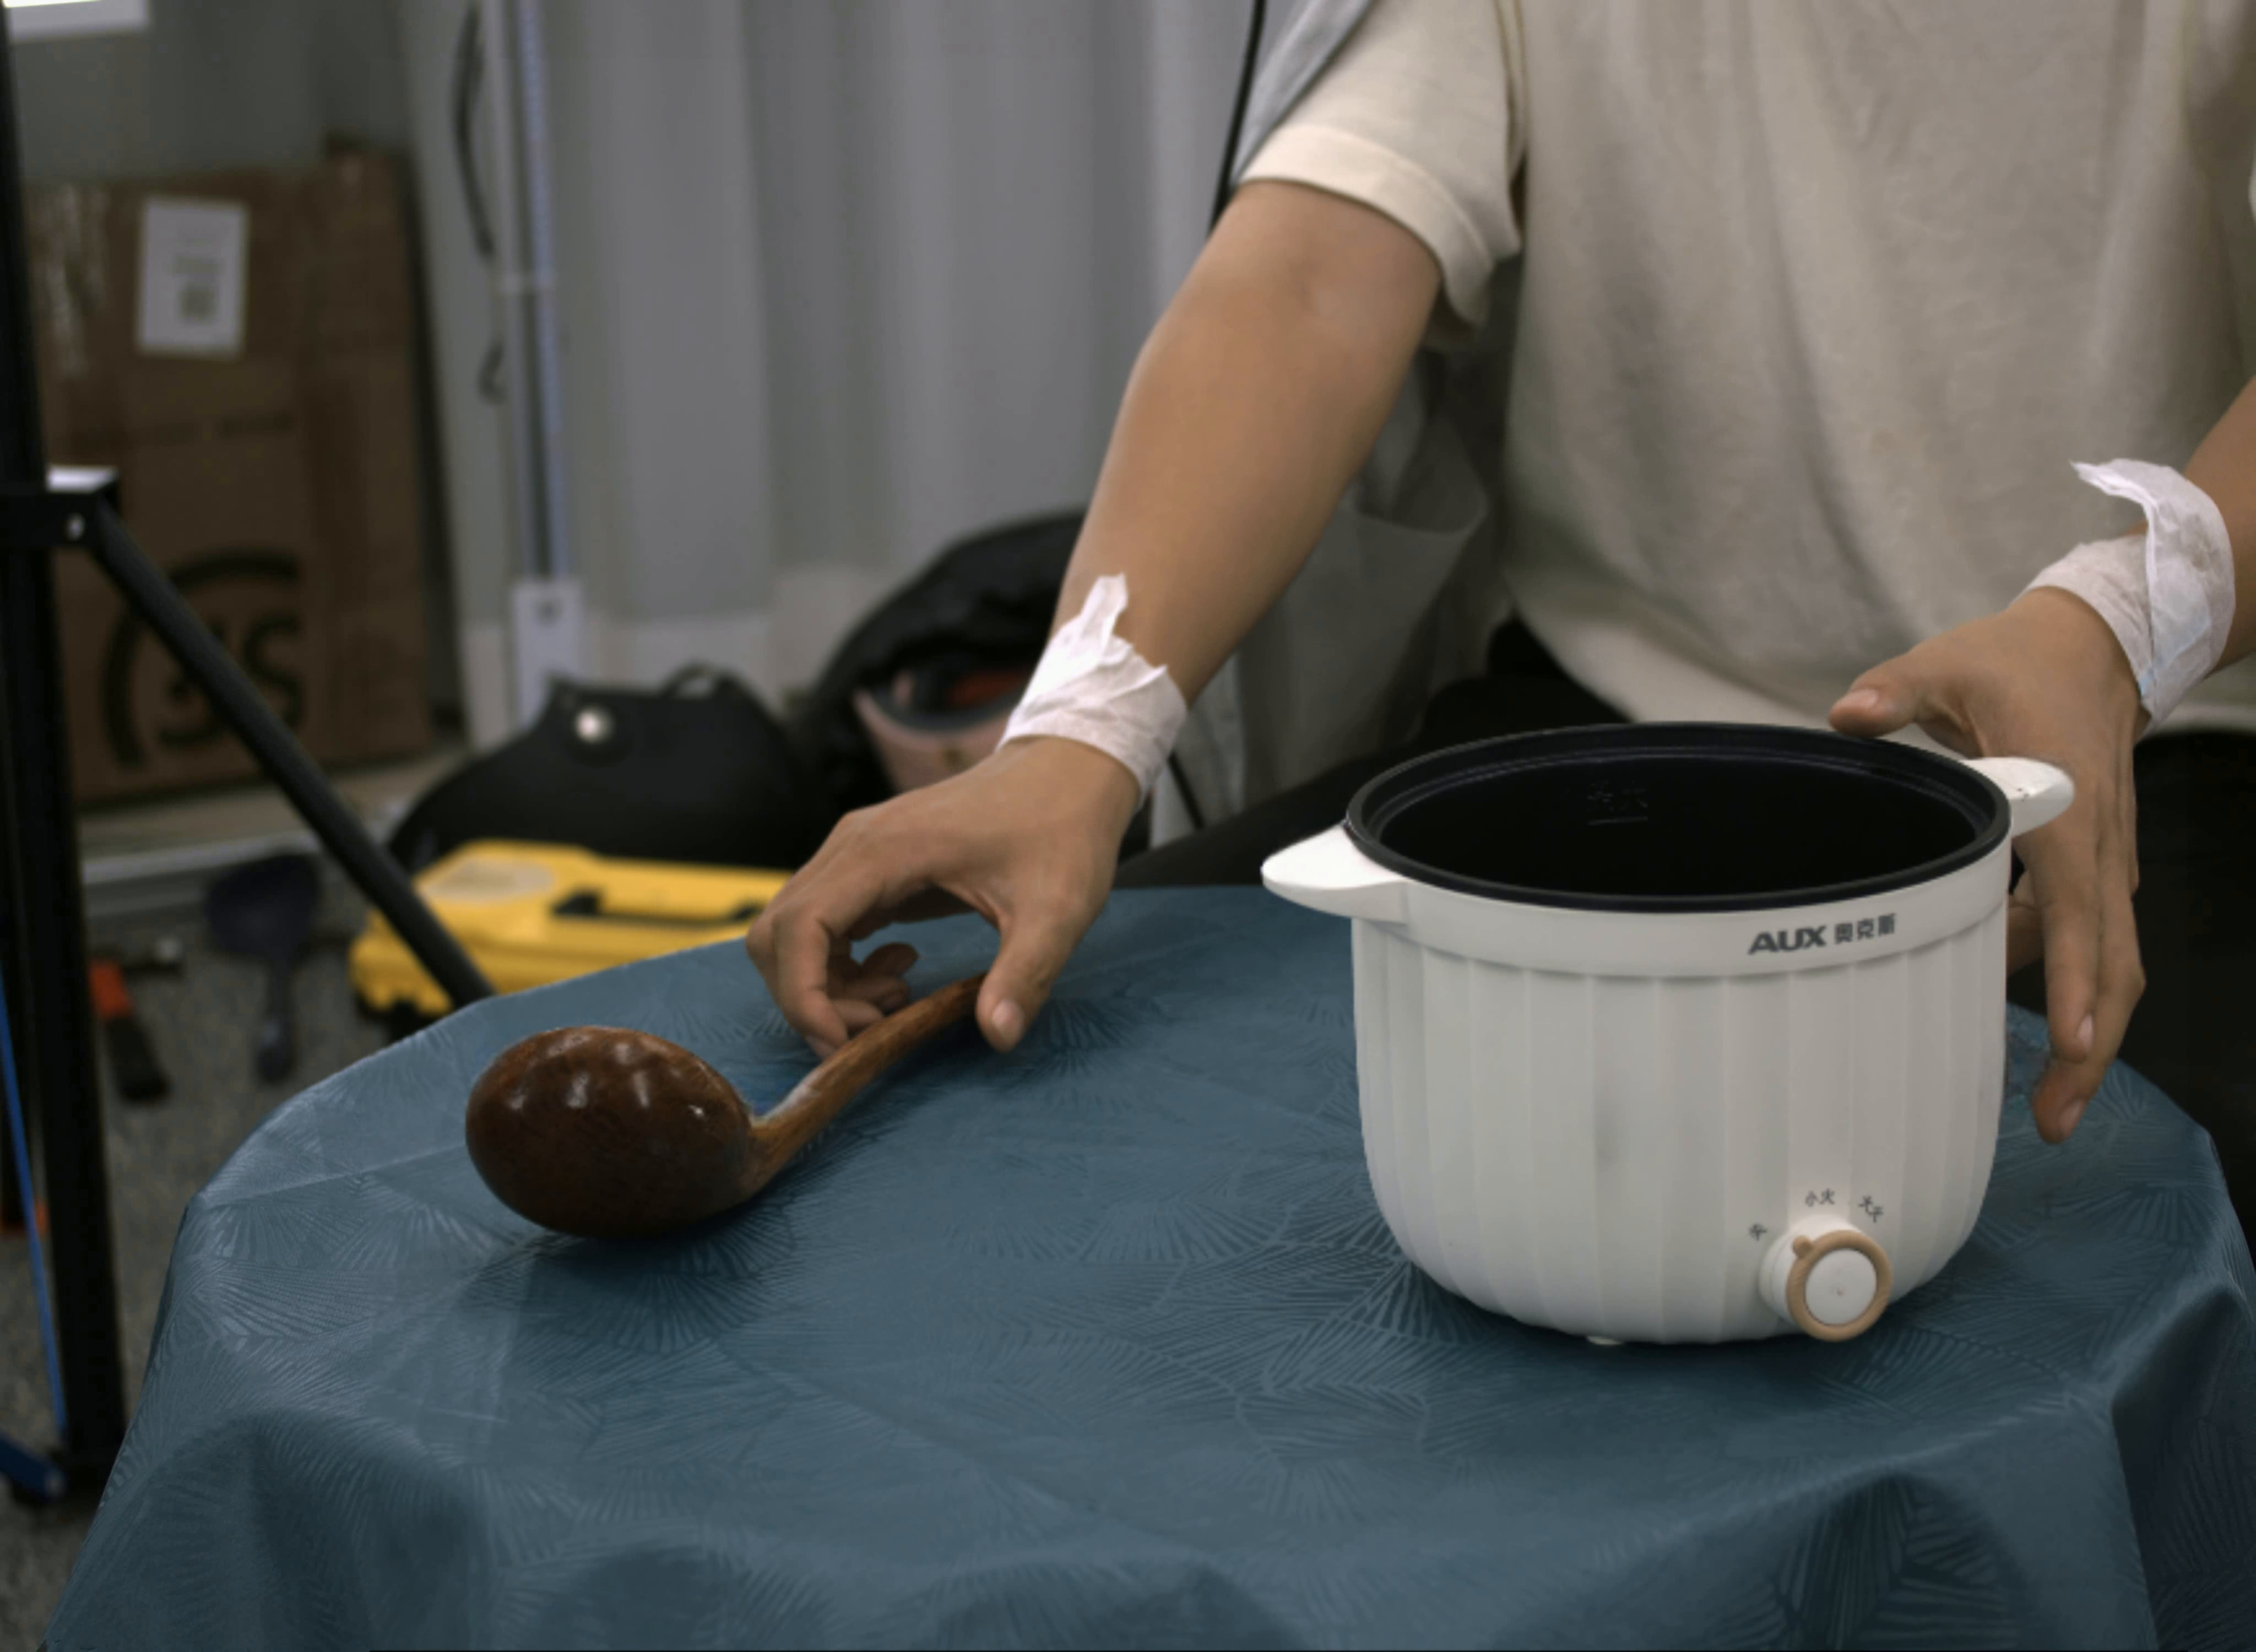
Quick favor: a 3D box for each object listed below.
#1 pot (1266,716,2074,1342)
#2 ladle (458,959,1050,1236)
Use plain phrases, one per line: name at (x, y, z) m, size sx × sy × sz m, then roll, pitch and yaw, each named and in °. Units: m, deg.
pot at (0.155, 0.058, 1.449) m, size 0.236 × 0.143 × 0.193 m, roll -8°, pitch 13°, yaw -17°
ladle at (-0.107, 0.059, 1.609) m, size 0.083 × 0.076 × 0.270 m, roll -22°, pitch 5°, yaw 30°
